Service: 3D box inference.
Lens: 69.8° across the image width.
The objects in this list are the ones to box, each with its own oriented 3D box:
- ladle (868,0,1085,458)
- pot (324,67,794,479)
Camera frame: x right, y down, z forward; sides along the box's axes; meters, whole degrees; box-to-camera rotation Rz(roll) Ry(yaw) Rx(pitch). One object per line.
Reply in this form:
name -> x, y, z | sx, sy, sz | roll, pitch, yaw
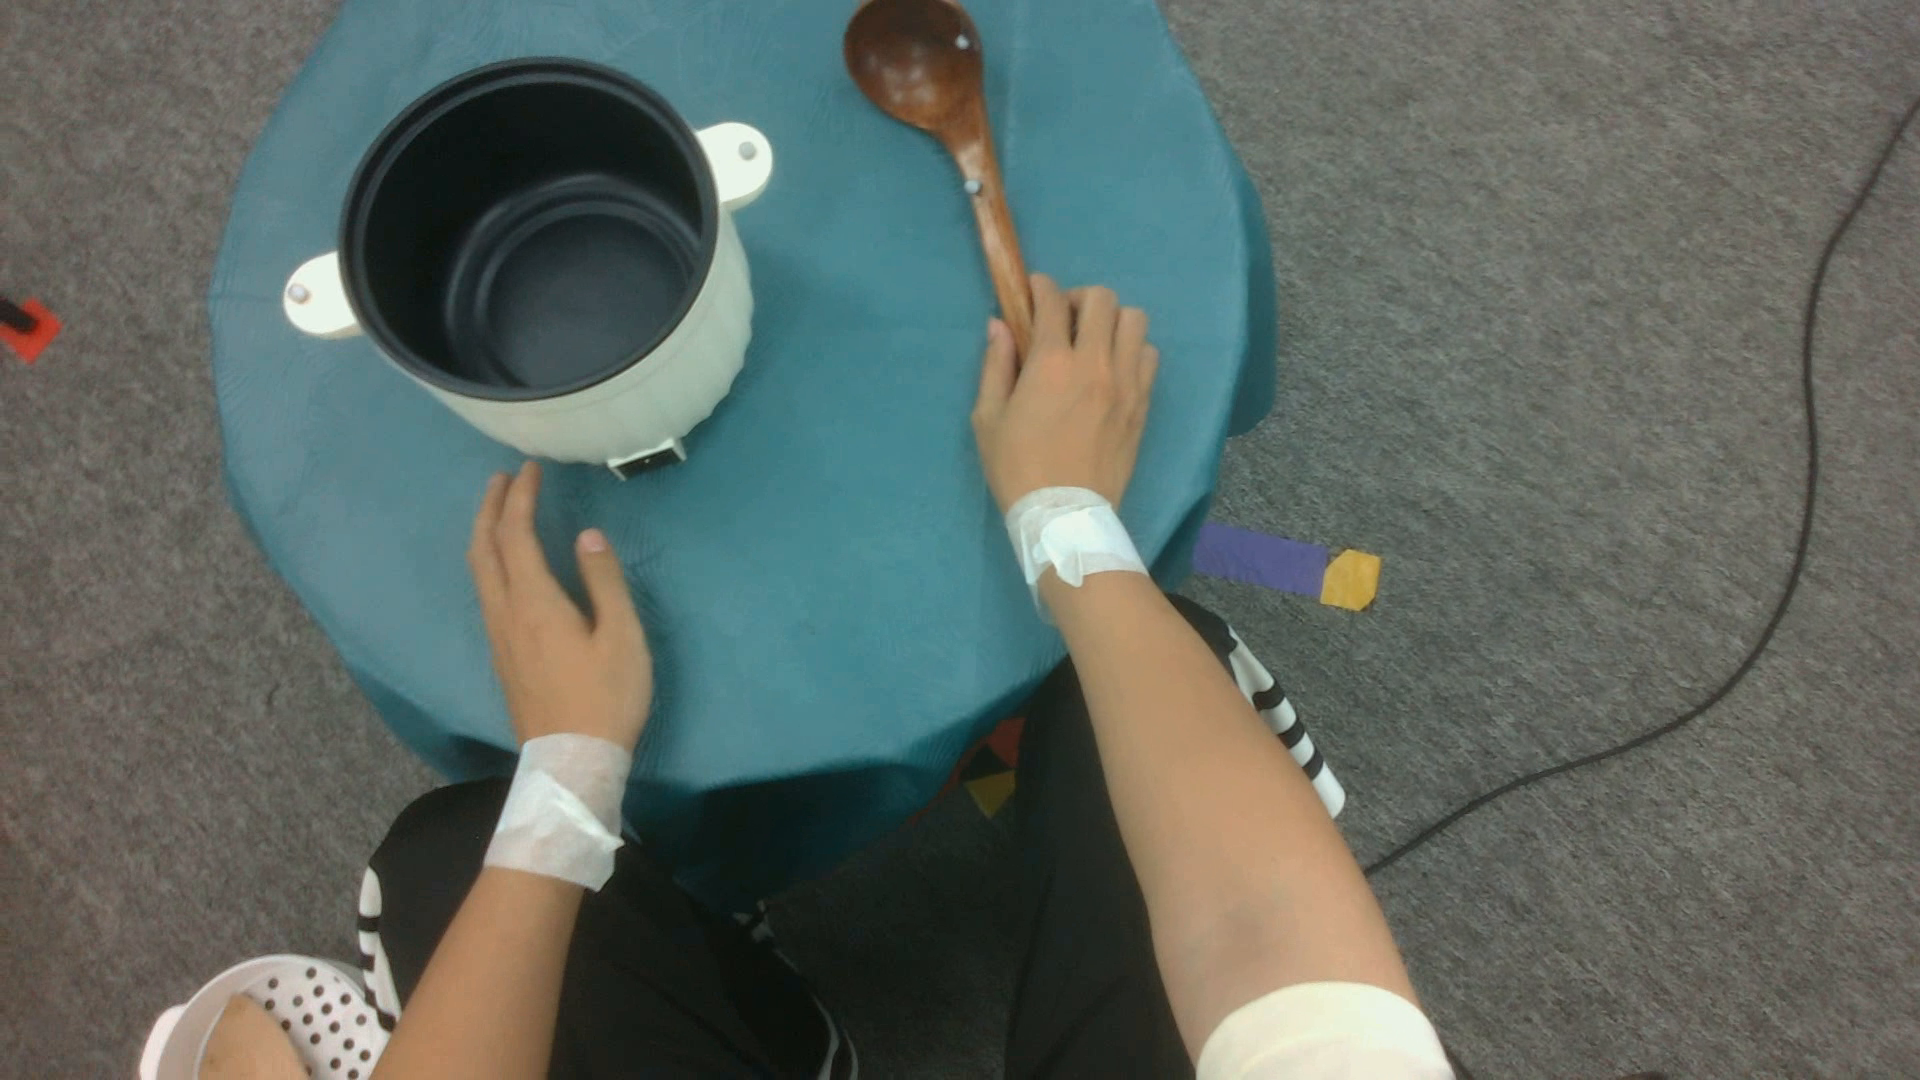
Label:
ladle -> 0.011, -0.179, 0.773 | 0.077, 0.081, 0.274 | 1, 71, -43
pot -> -0.196, -0.139, 0.734 | 0.240, 0.142, 0.191 | -19, 78, -4
